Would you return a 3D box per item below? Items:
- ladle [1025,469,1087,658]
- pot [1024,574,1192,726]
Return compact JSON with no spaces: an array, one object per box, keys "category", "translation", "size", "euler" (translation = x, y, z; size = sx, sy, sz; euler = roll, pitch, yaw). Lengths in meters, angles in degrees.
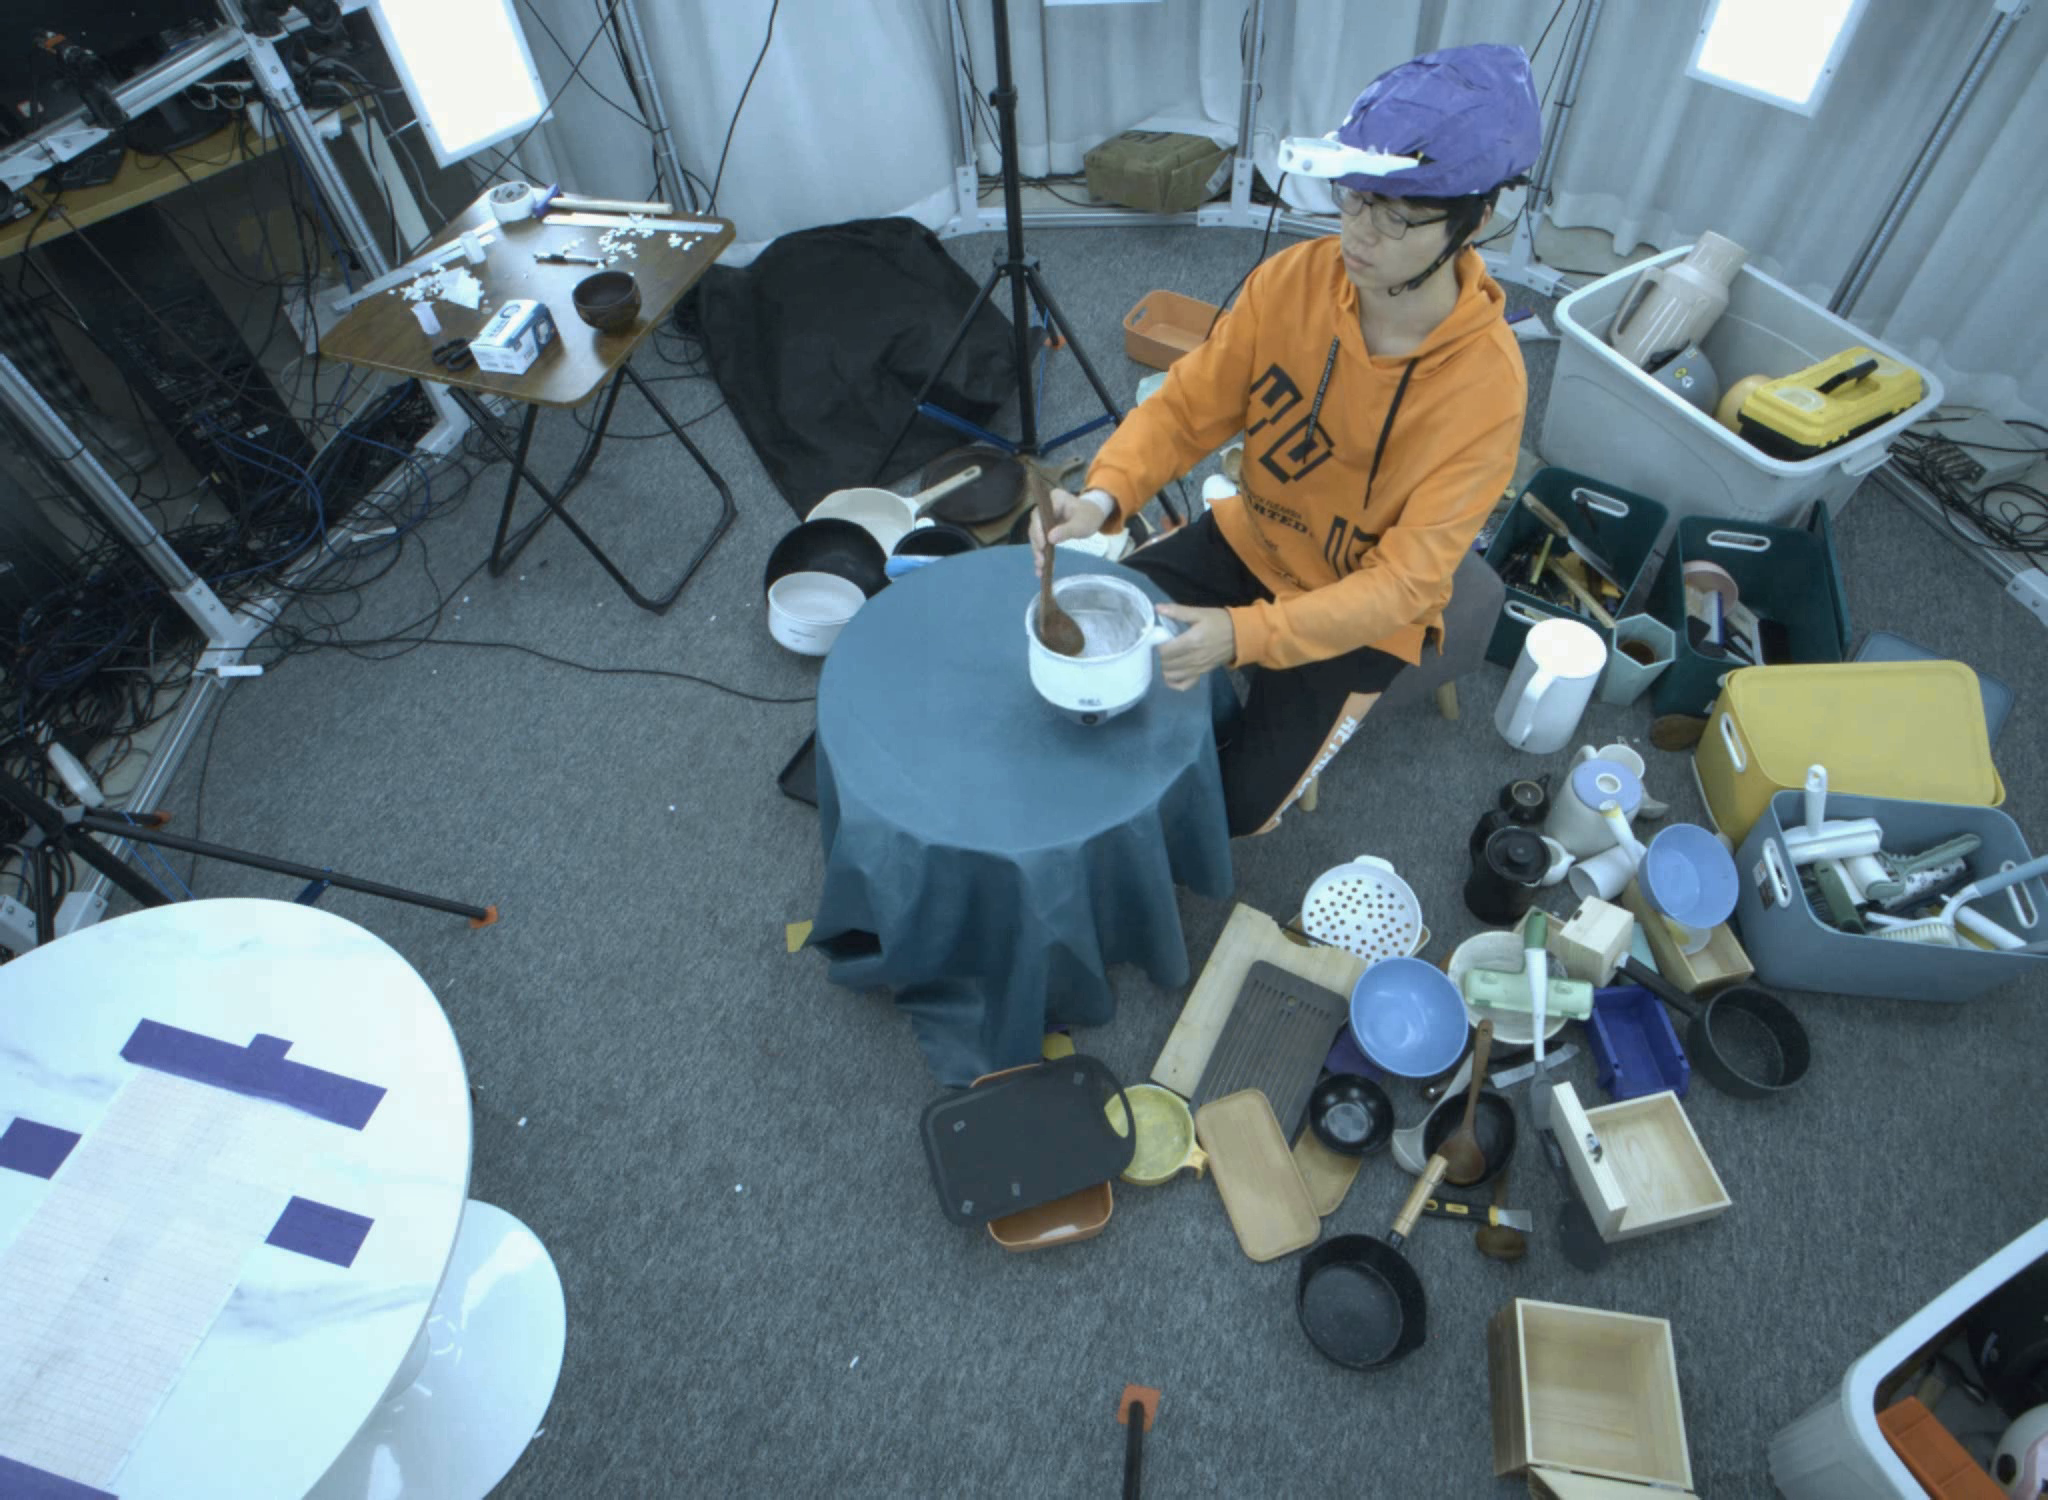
[{"category":"ladle","translation":[0.042,-0.253,1.671],"size":[0.064,0.262,0.077],"euler":[7,23,31]},{"category":"pot","translation":[0.120,-0.142,1.733],"size":[0.233,0.138,0.177],"euler":[-1,50,3]}]
